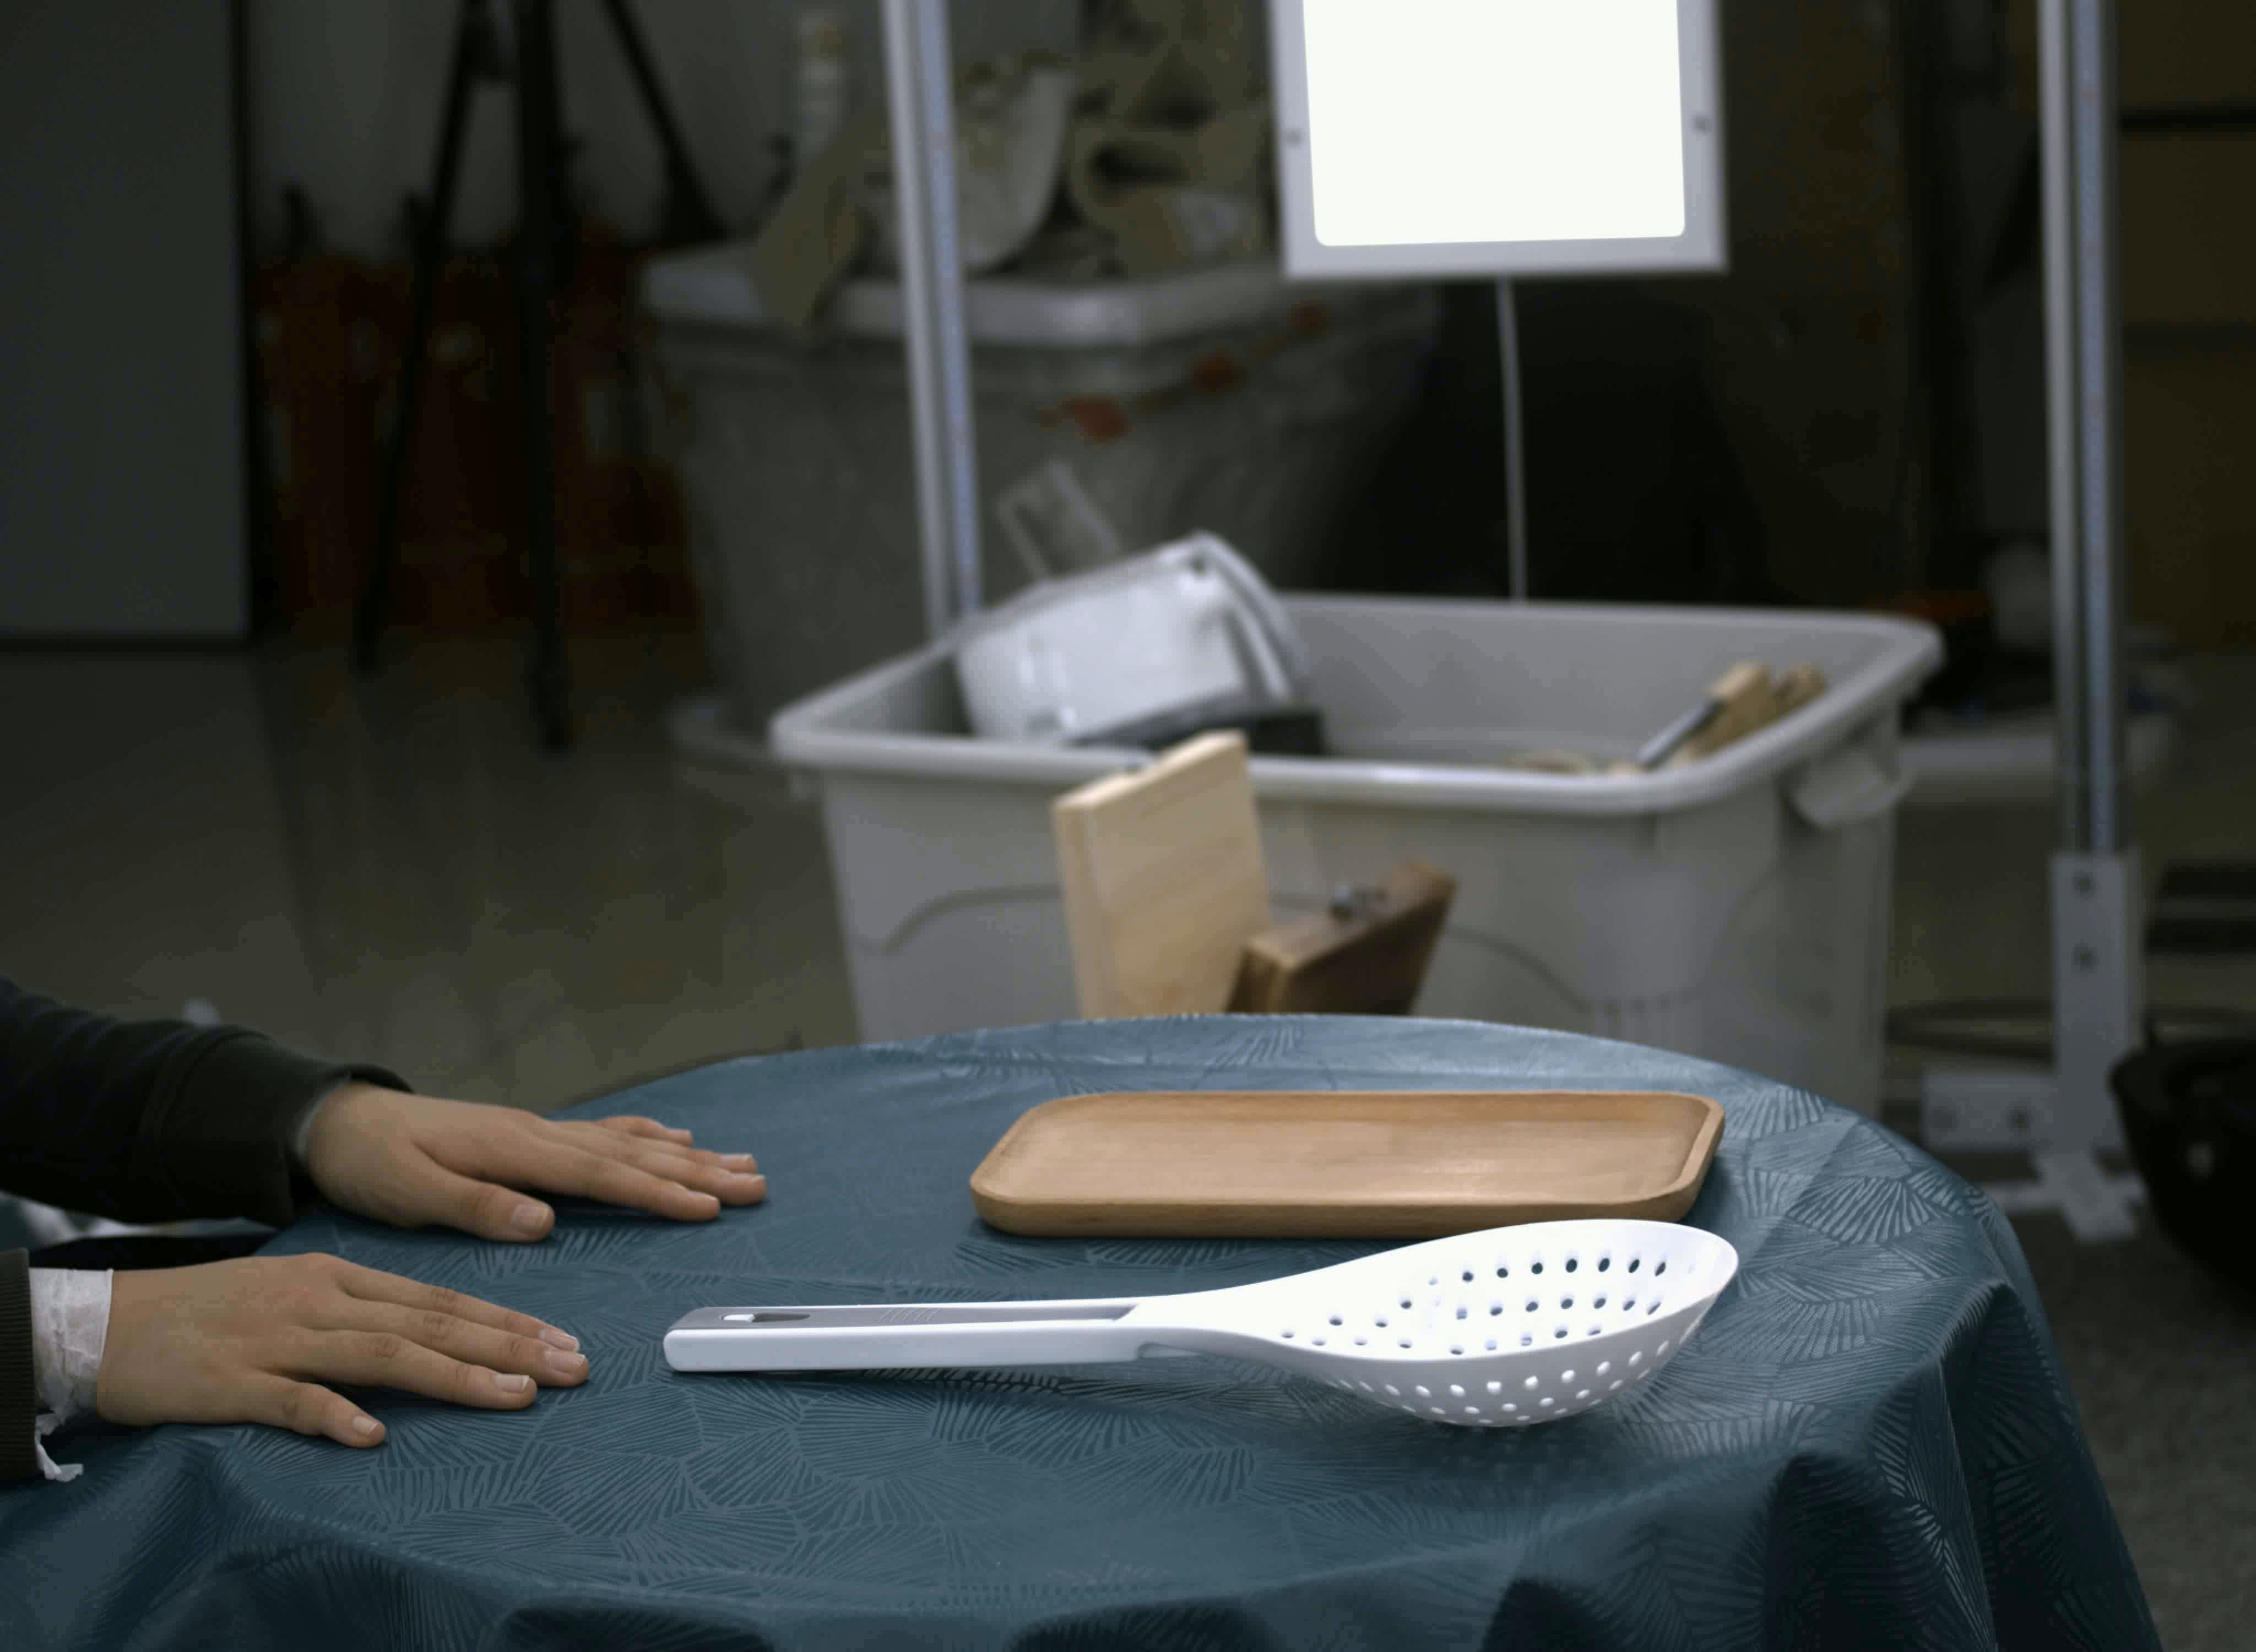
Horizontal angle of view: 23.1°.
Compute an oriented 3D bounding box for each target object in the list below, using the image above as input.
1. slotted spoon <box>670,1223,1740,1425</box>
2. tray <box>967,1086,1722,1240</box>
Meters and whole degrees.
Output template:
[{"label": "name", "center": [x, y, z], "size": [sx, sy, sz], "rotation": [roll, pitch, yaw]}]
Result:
[{"label": "slotted spoon", "center": [0.018, 0.152, 1.689], "size": [0.355, 0.046, 0.133], "rotation": [0, 12, 24]}, {"label": "tray", "center": [0.075, 0.115, 1.882], "size": [0.253, 0.023, 0.128], "rotation": [-2, 12, 17]}]
